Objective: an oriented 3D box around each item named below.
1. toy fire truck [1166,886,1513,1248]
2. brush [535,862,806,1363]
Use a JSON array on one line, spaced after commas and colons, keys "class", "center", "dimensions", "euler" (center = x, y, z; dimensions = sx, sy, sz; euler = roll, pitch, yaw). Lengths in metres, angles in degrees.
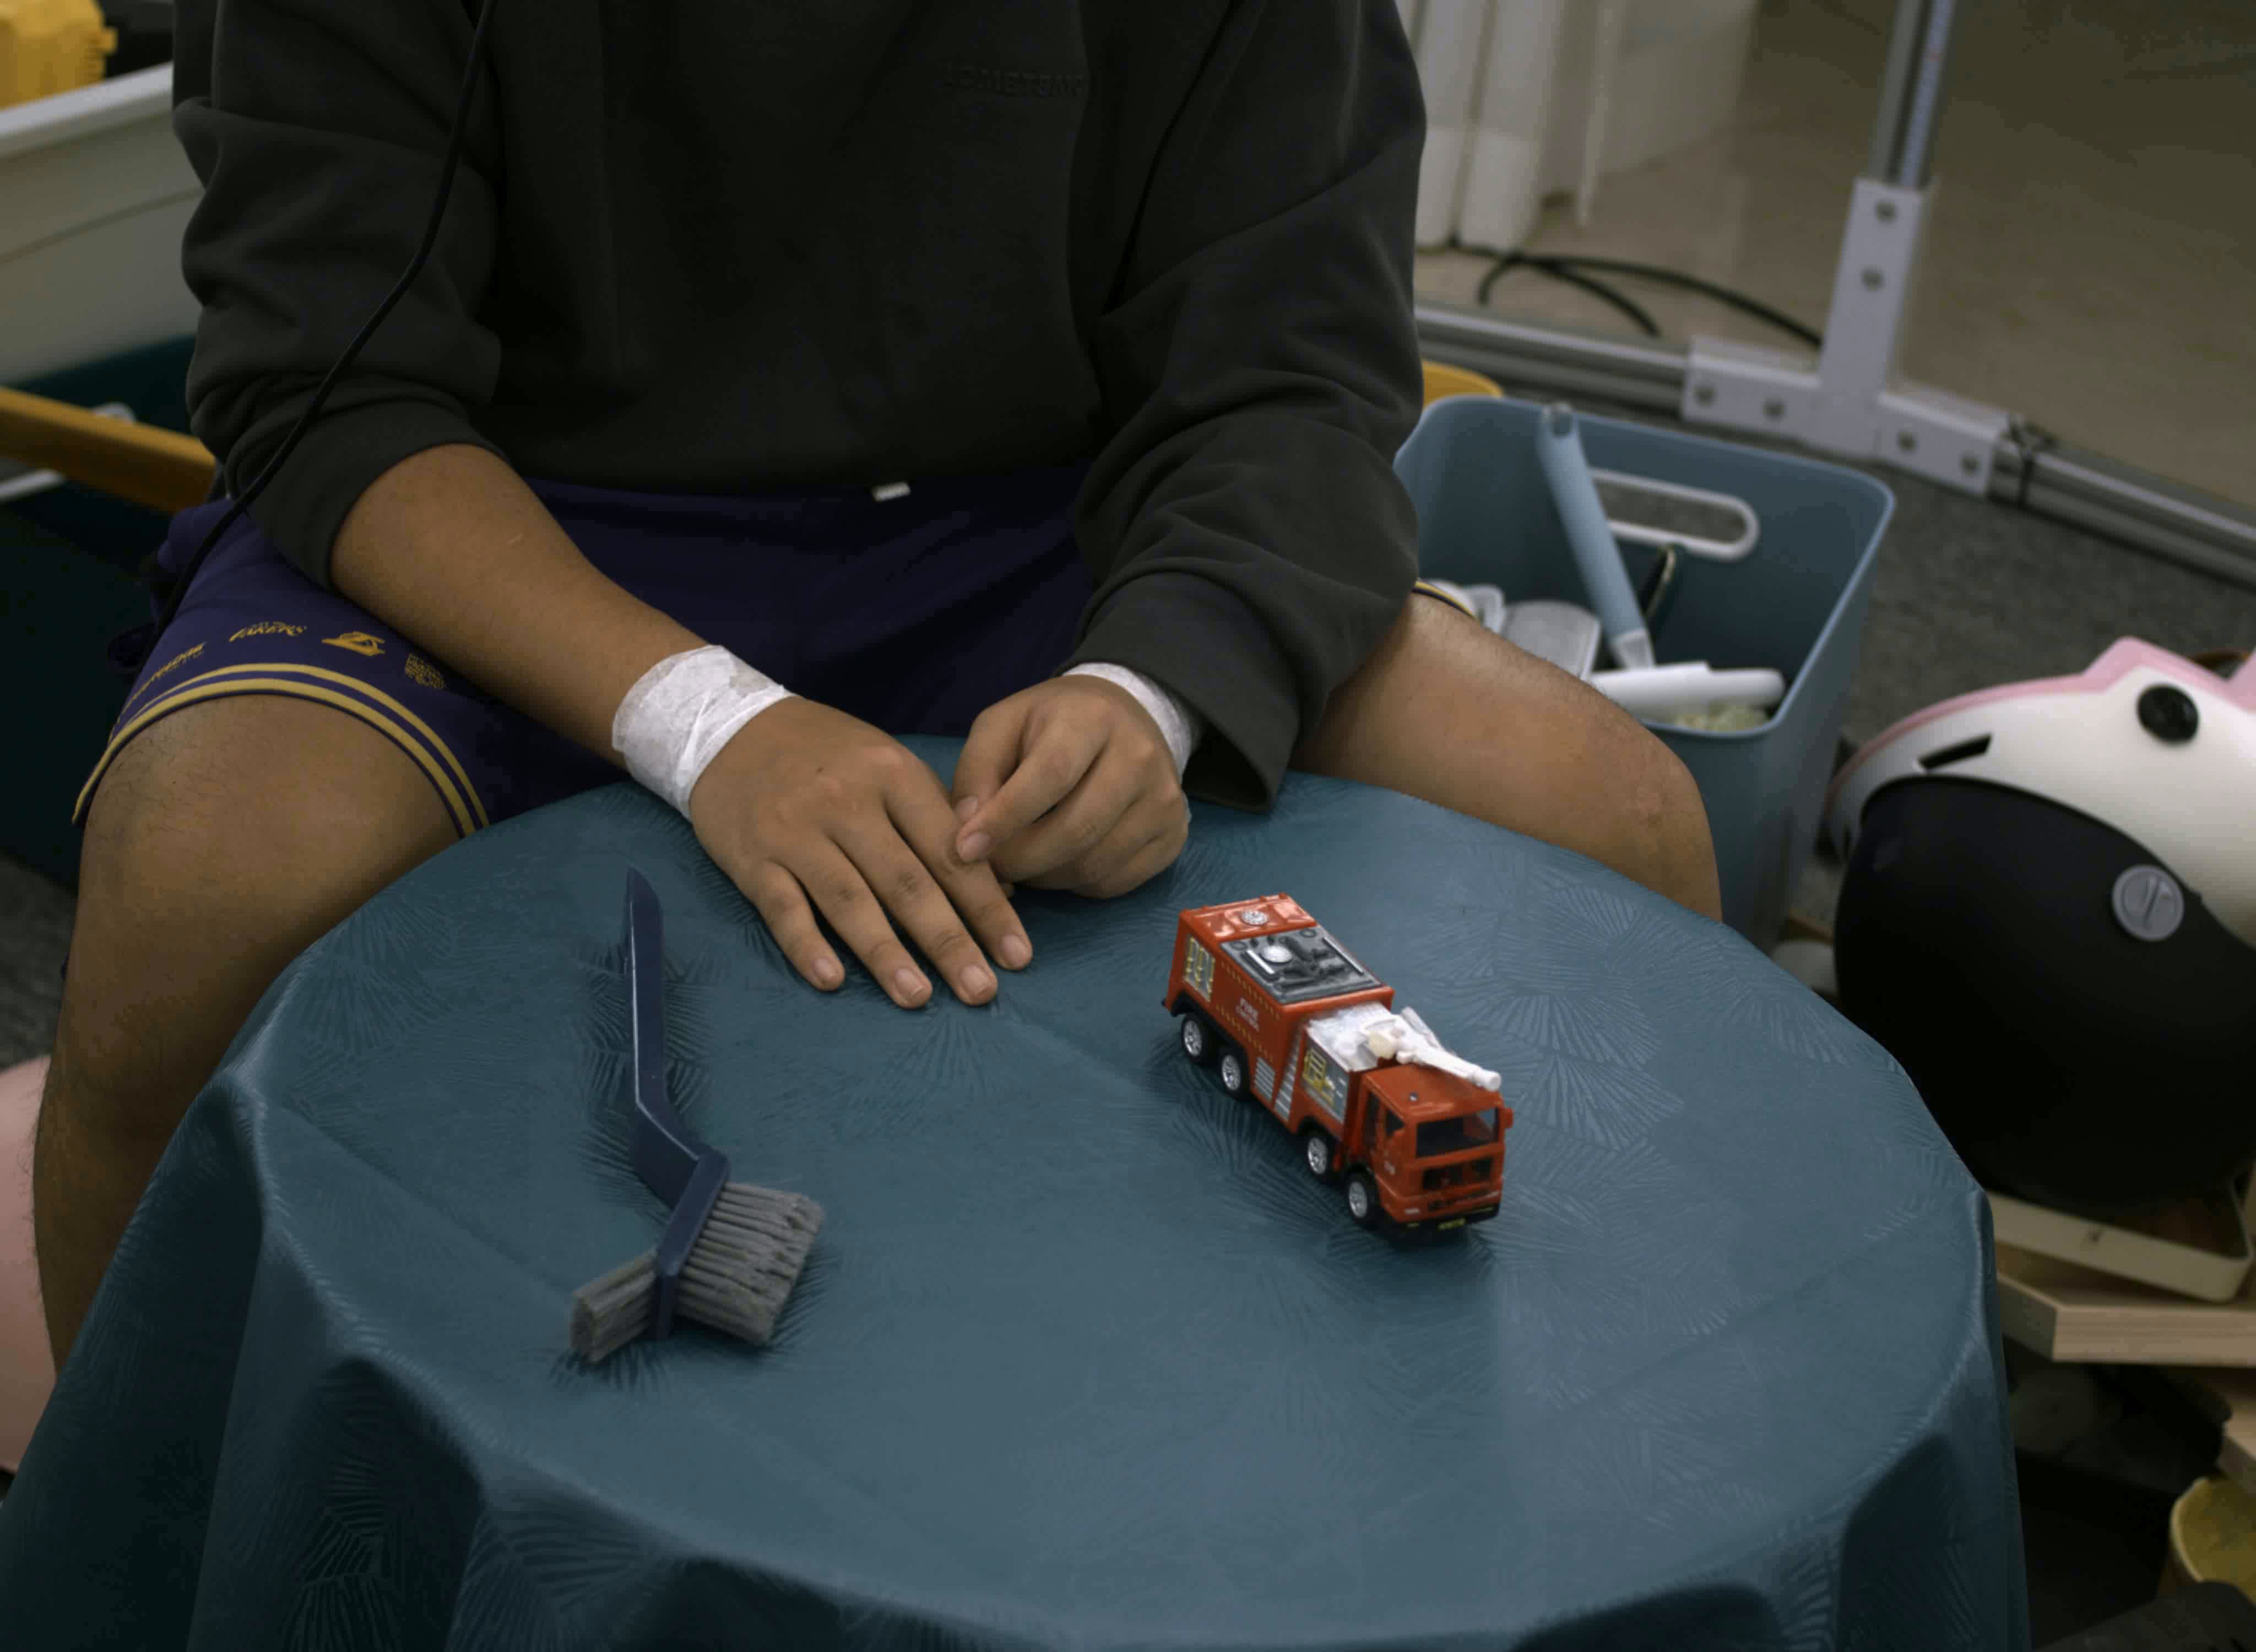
[{"class": "toy fire truck", "center": [0.073, 0.081, 1.836], "dimensions": [0.053, 0.070, 0.169], "euler": [-9, 30, -29]}, {"class": "brush", "center": [-0.168, 0.092, 1.791], "dimensions": [0.095, 0.033, 0.275], "euler": [-1, 28, -14]}]
